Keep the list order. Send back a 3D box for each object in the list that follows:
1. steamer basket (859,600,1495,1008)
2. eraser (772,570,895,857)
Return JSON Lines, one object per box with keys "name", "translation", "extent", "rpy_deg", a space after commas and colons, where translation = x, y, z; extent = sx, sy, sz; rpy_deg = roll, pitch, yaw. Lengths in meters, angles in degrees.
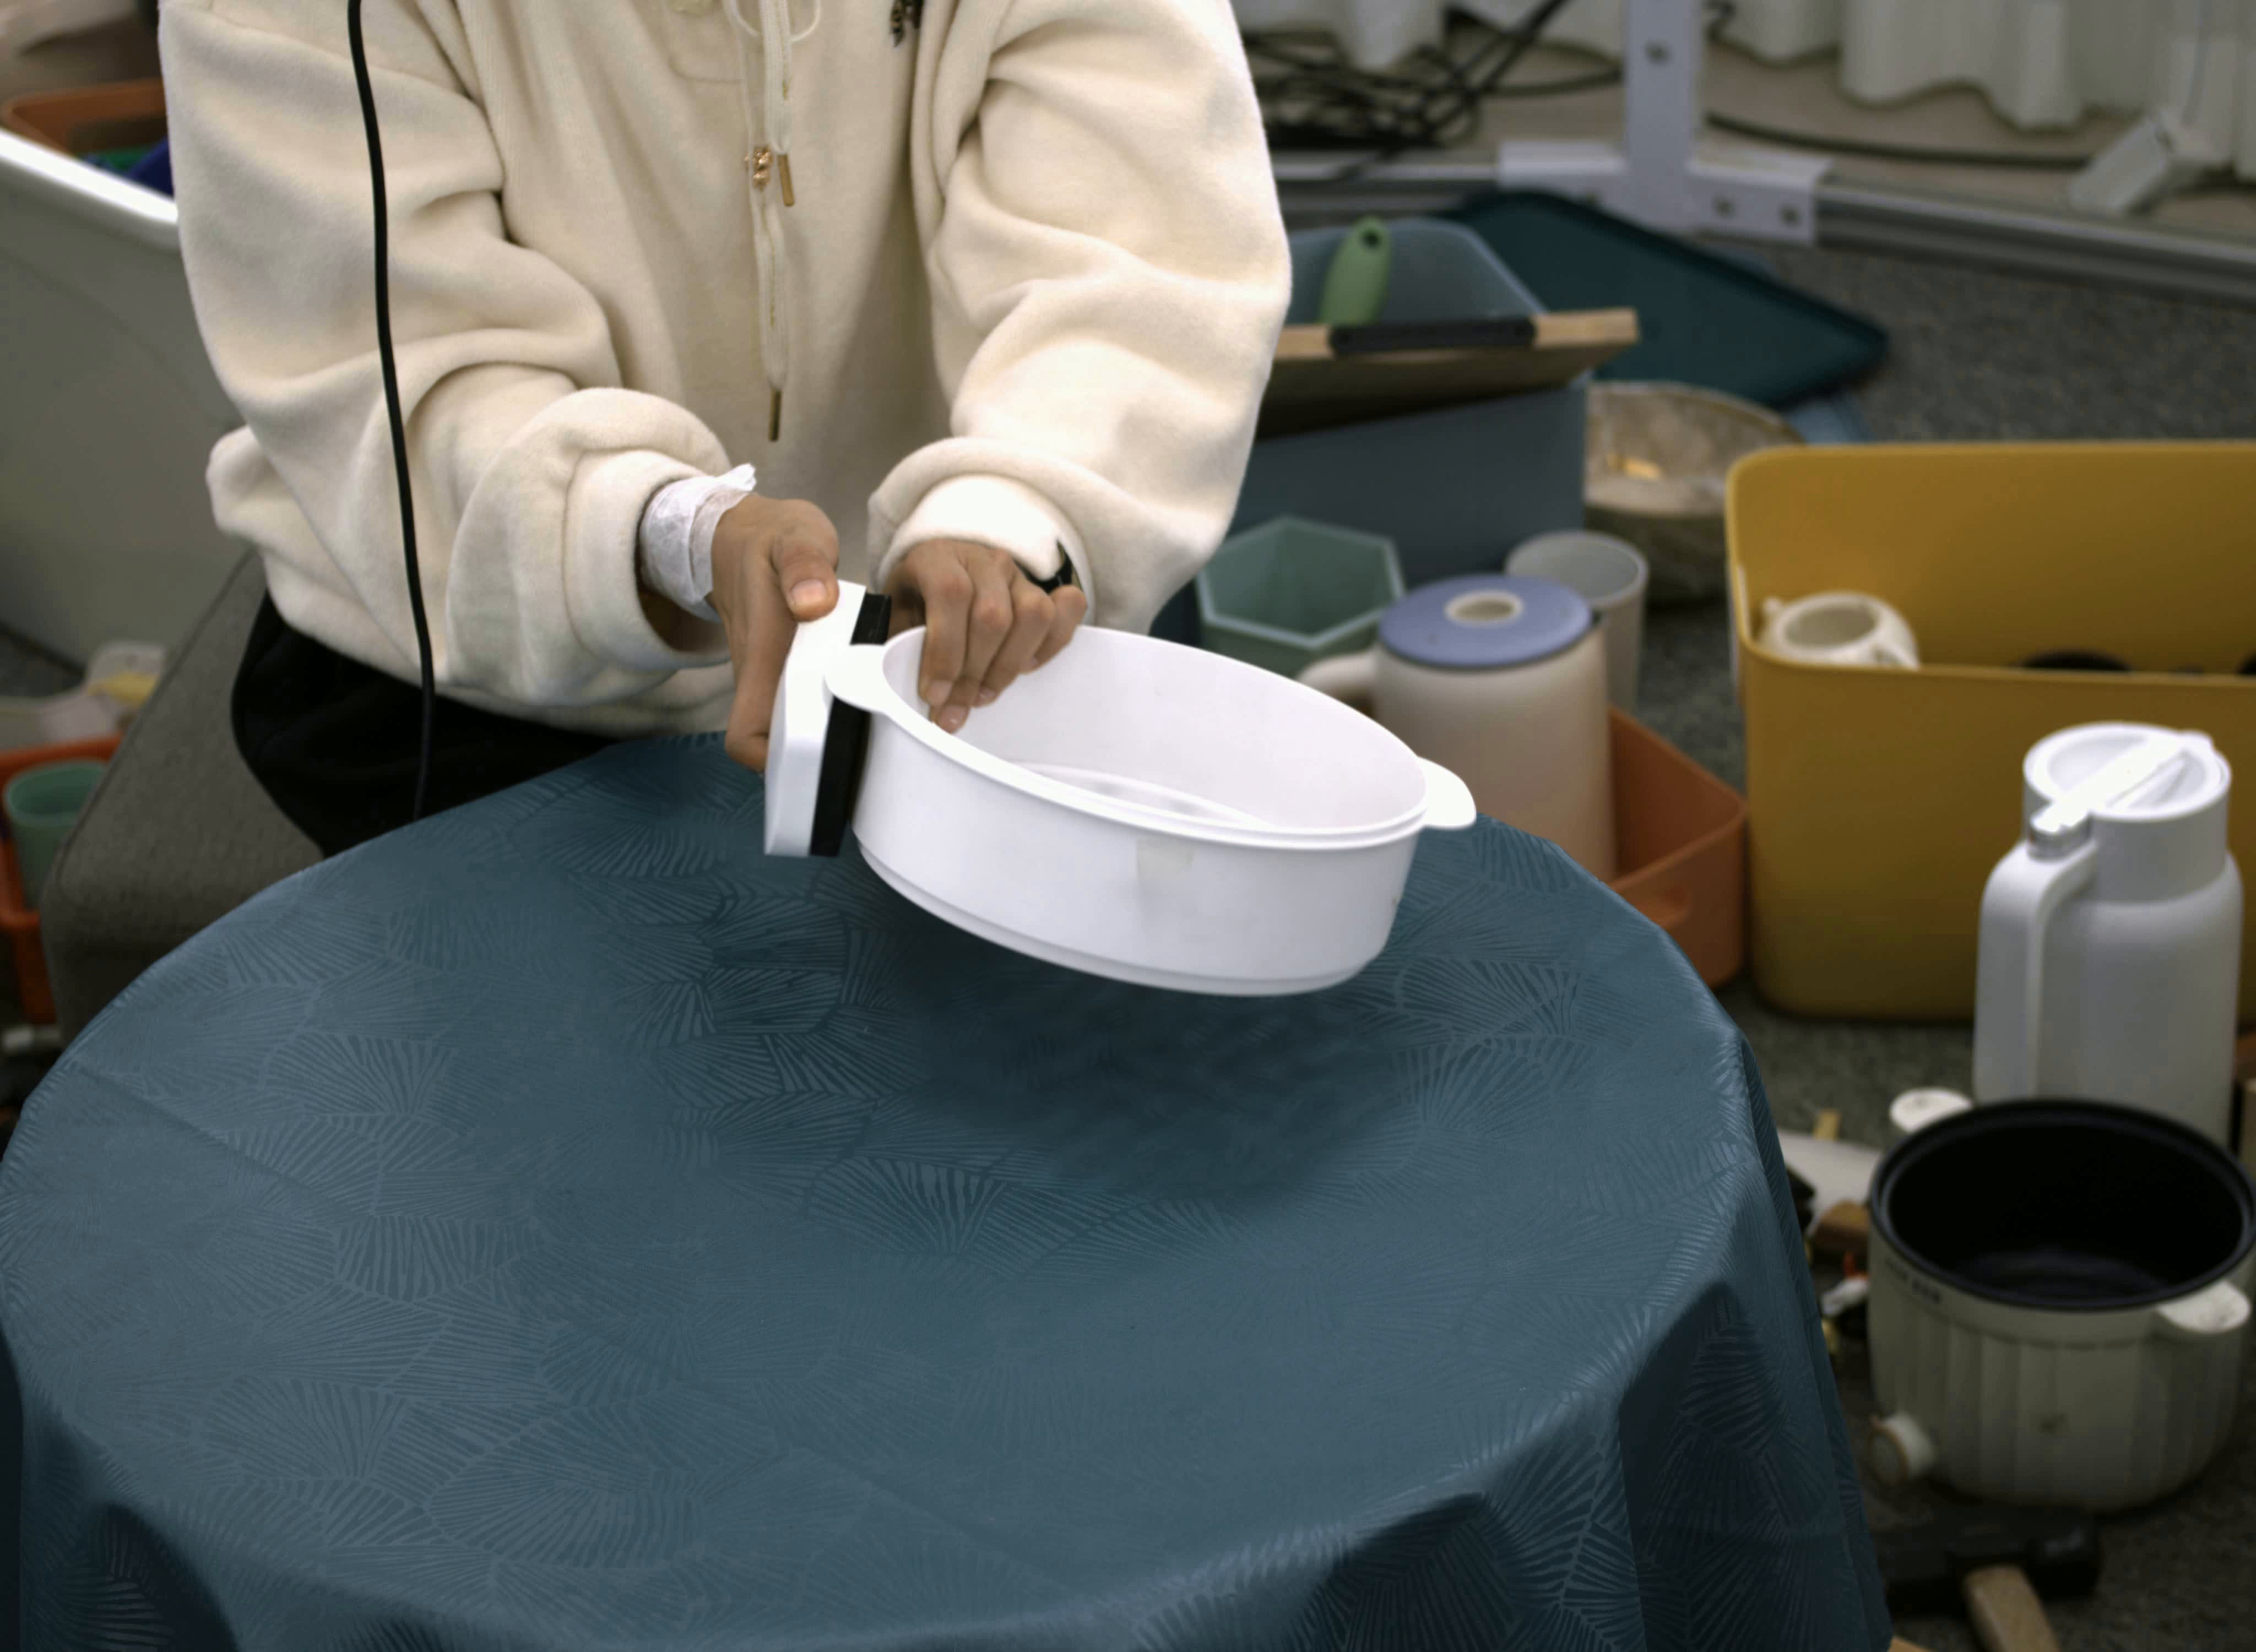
{"name": "steamer basket", "translation": [0.009, -0.007, 1.939], "extent": [0.230, 0.068, 0.204], "rpy_deg": [17, 19, -8]}
{"name": "eraser", "translation": [-0.105, -0.041, 1.970], "extent": [0.034, 0.062, 0.133], "rpy_deg": [9, 26, -2]}
